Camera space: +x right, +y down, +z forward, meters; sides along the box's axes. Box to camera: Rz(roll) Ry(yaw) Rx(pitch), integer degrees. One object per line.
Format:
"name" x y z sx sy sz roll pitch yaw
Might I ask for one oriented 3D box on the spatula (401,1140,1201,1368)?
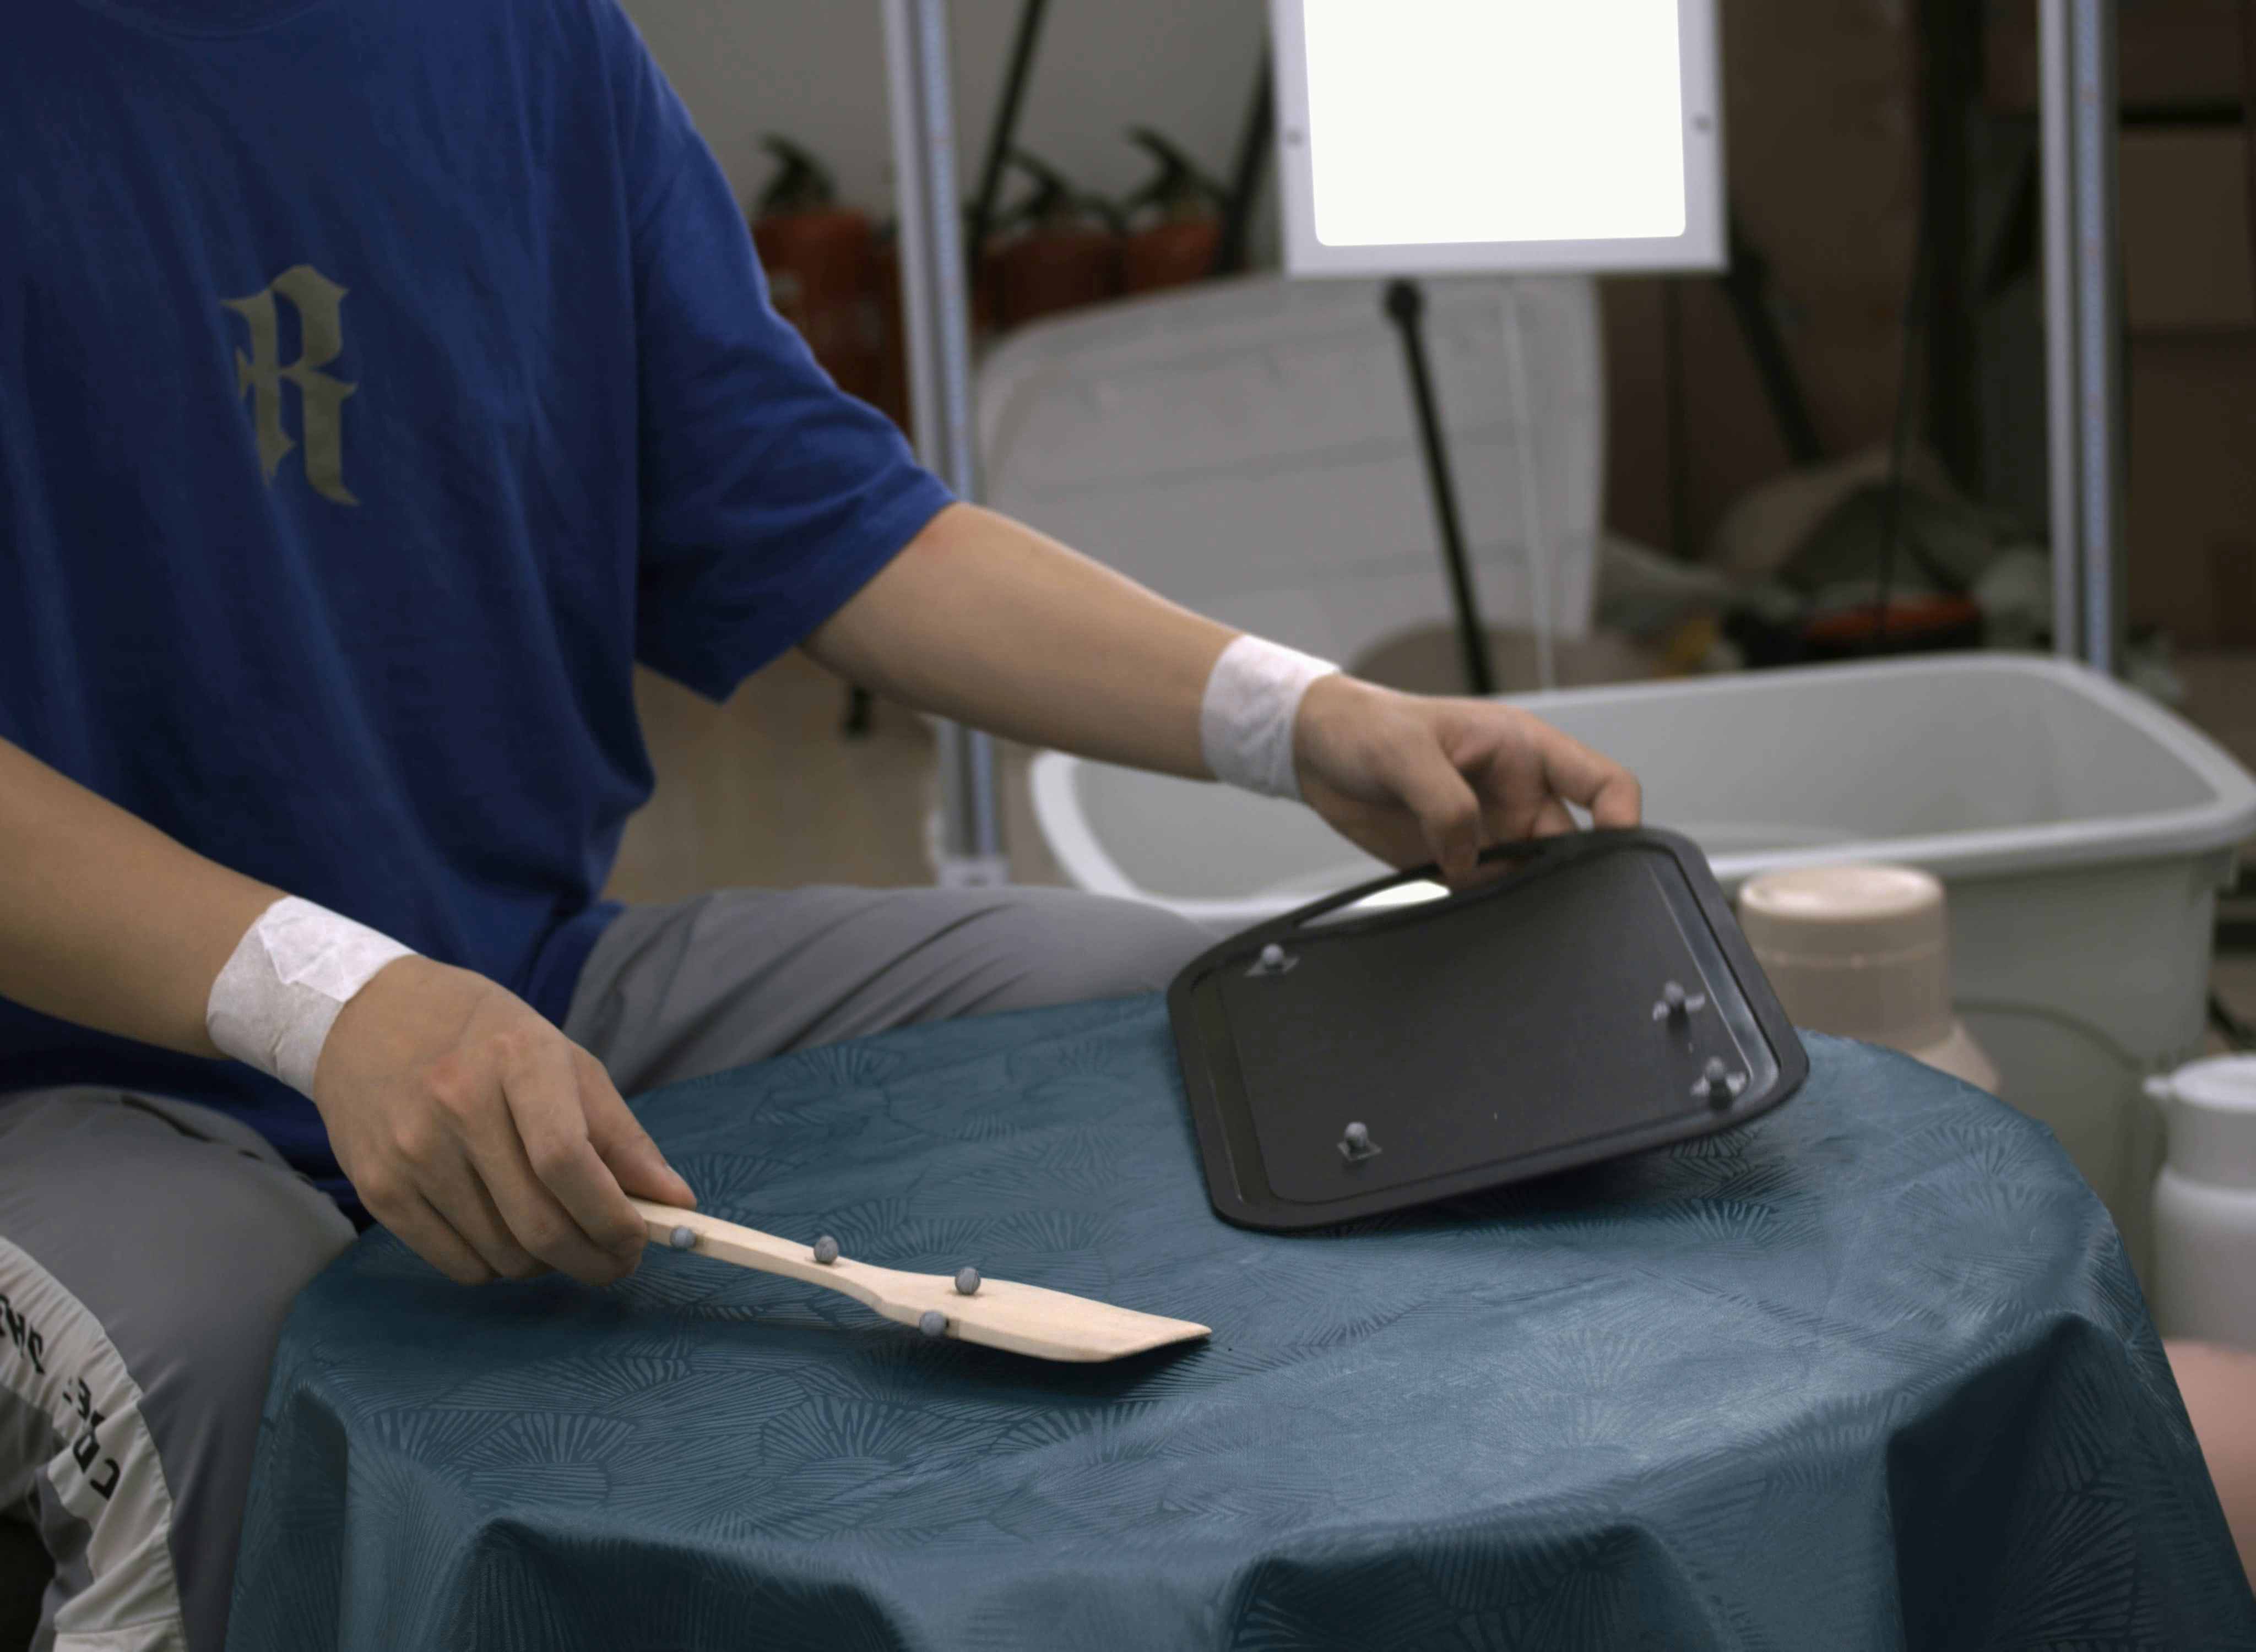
"spatula" -0.116 0.138 1.789 0.298 0.011 0.070 12 10 30

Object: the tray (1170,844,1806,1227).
"tray" 0.122 0.068 1.977 0.211 0.010 0.325 -14 18 2
